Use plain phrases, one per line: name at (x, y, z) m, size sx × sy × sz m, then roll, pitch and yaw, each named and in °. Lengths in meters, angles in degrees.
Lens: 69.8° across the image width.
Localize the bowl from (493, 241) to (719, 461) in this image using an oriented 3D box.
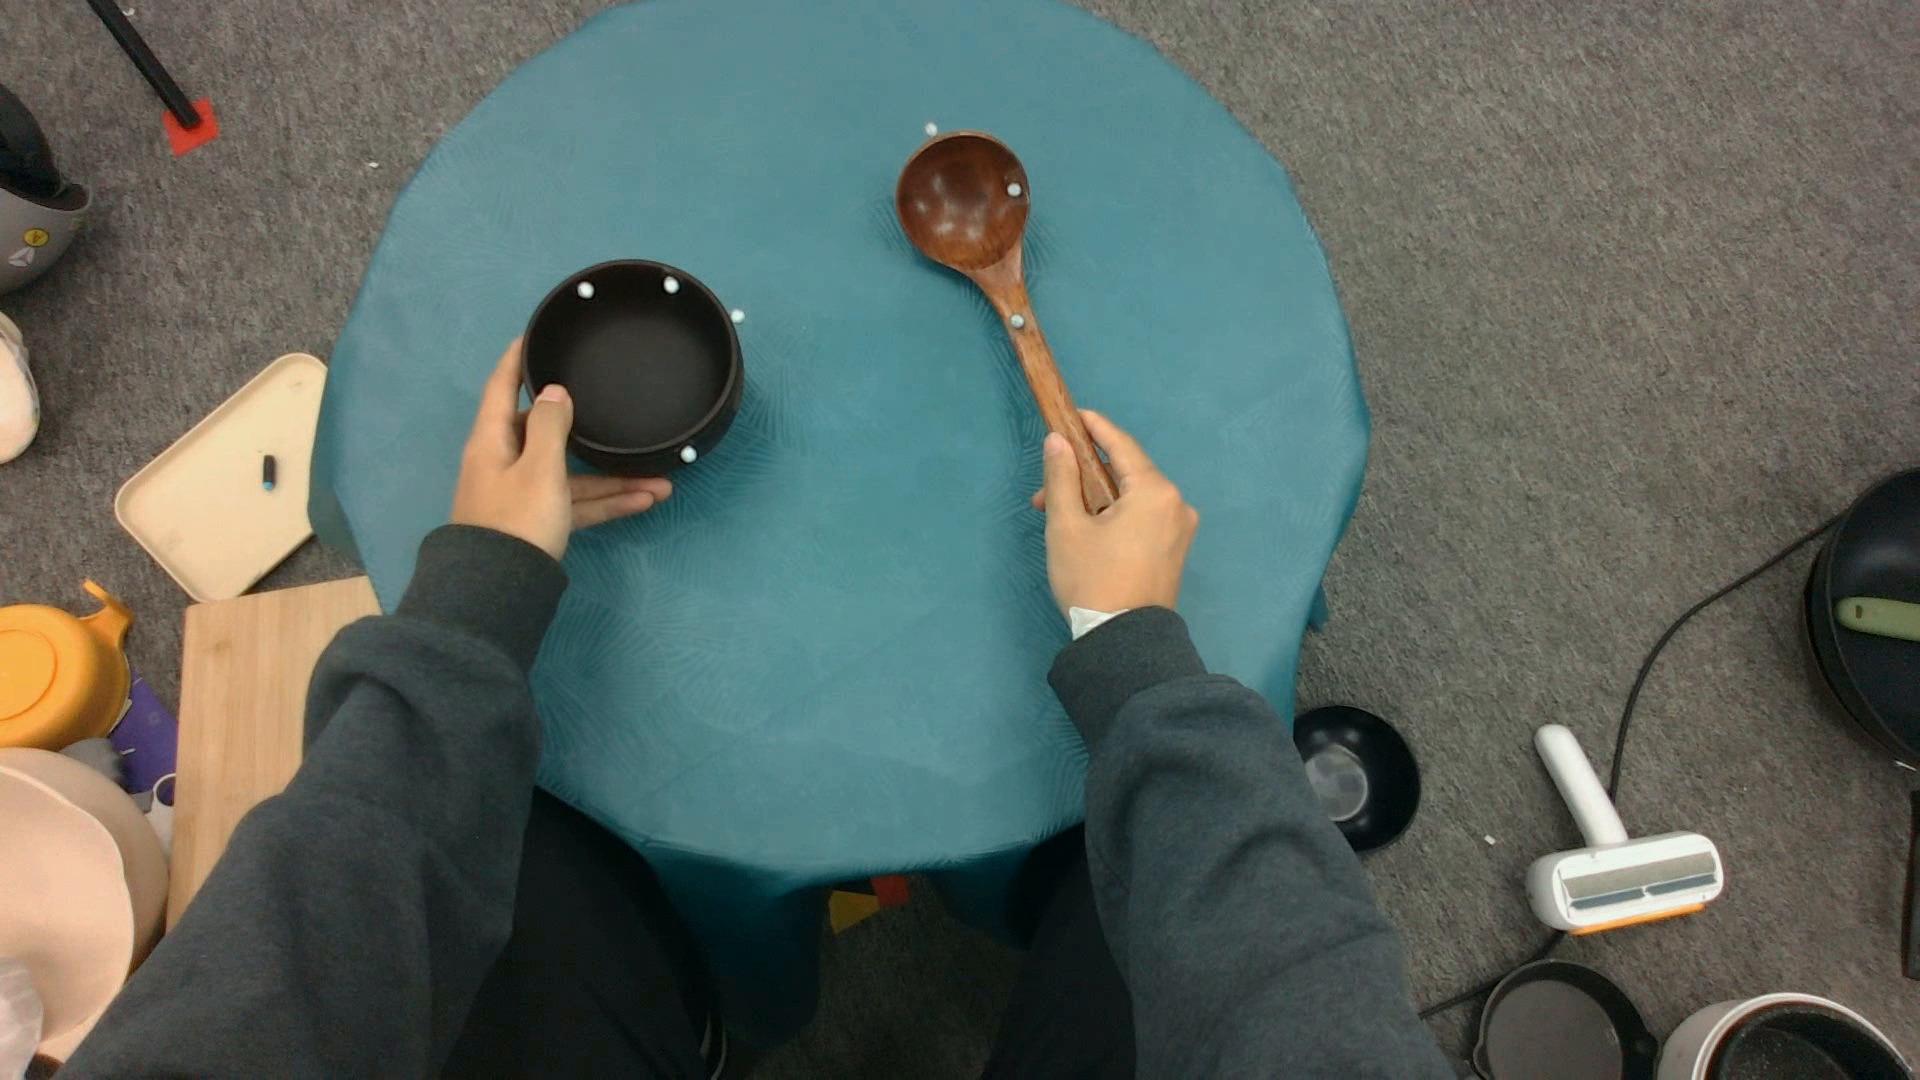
bowl at (-0.192, -0.098, 0.761) m, size 0.118 × 0.069 × 0.118 m, roll 2°, pitch 73°, yaw -5°

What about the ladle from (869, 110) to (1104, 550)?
ladle at (0.020, -0.126, 0.773) m, size 0.082 × 0.076 × 0.275 m, roll -26°, pitch 62°, yaw 15°
